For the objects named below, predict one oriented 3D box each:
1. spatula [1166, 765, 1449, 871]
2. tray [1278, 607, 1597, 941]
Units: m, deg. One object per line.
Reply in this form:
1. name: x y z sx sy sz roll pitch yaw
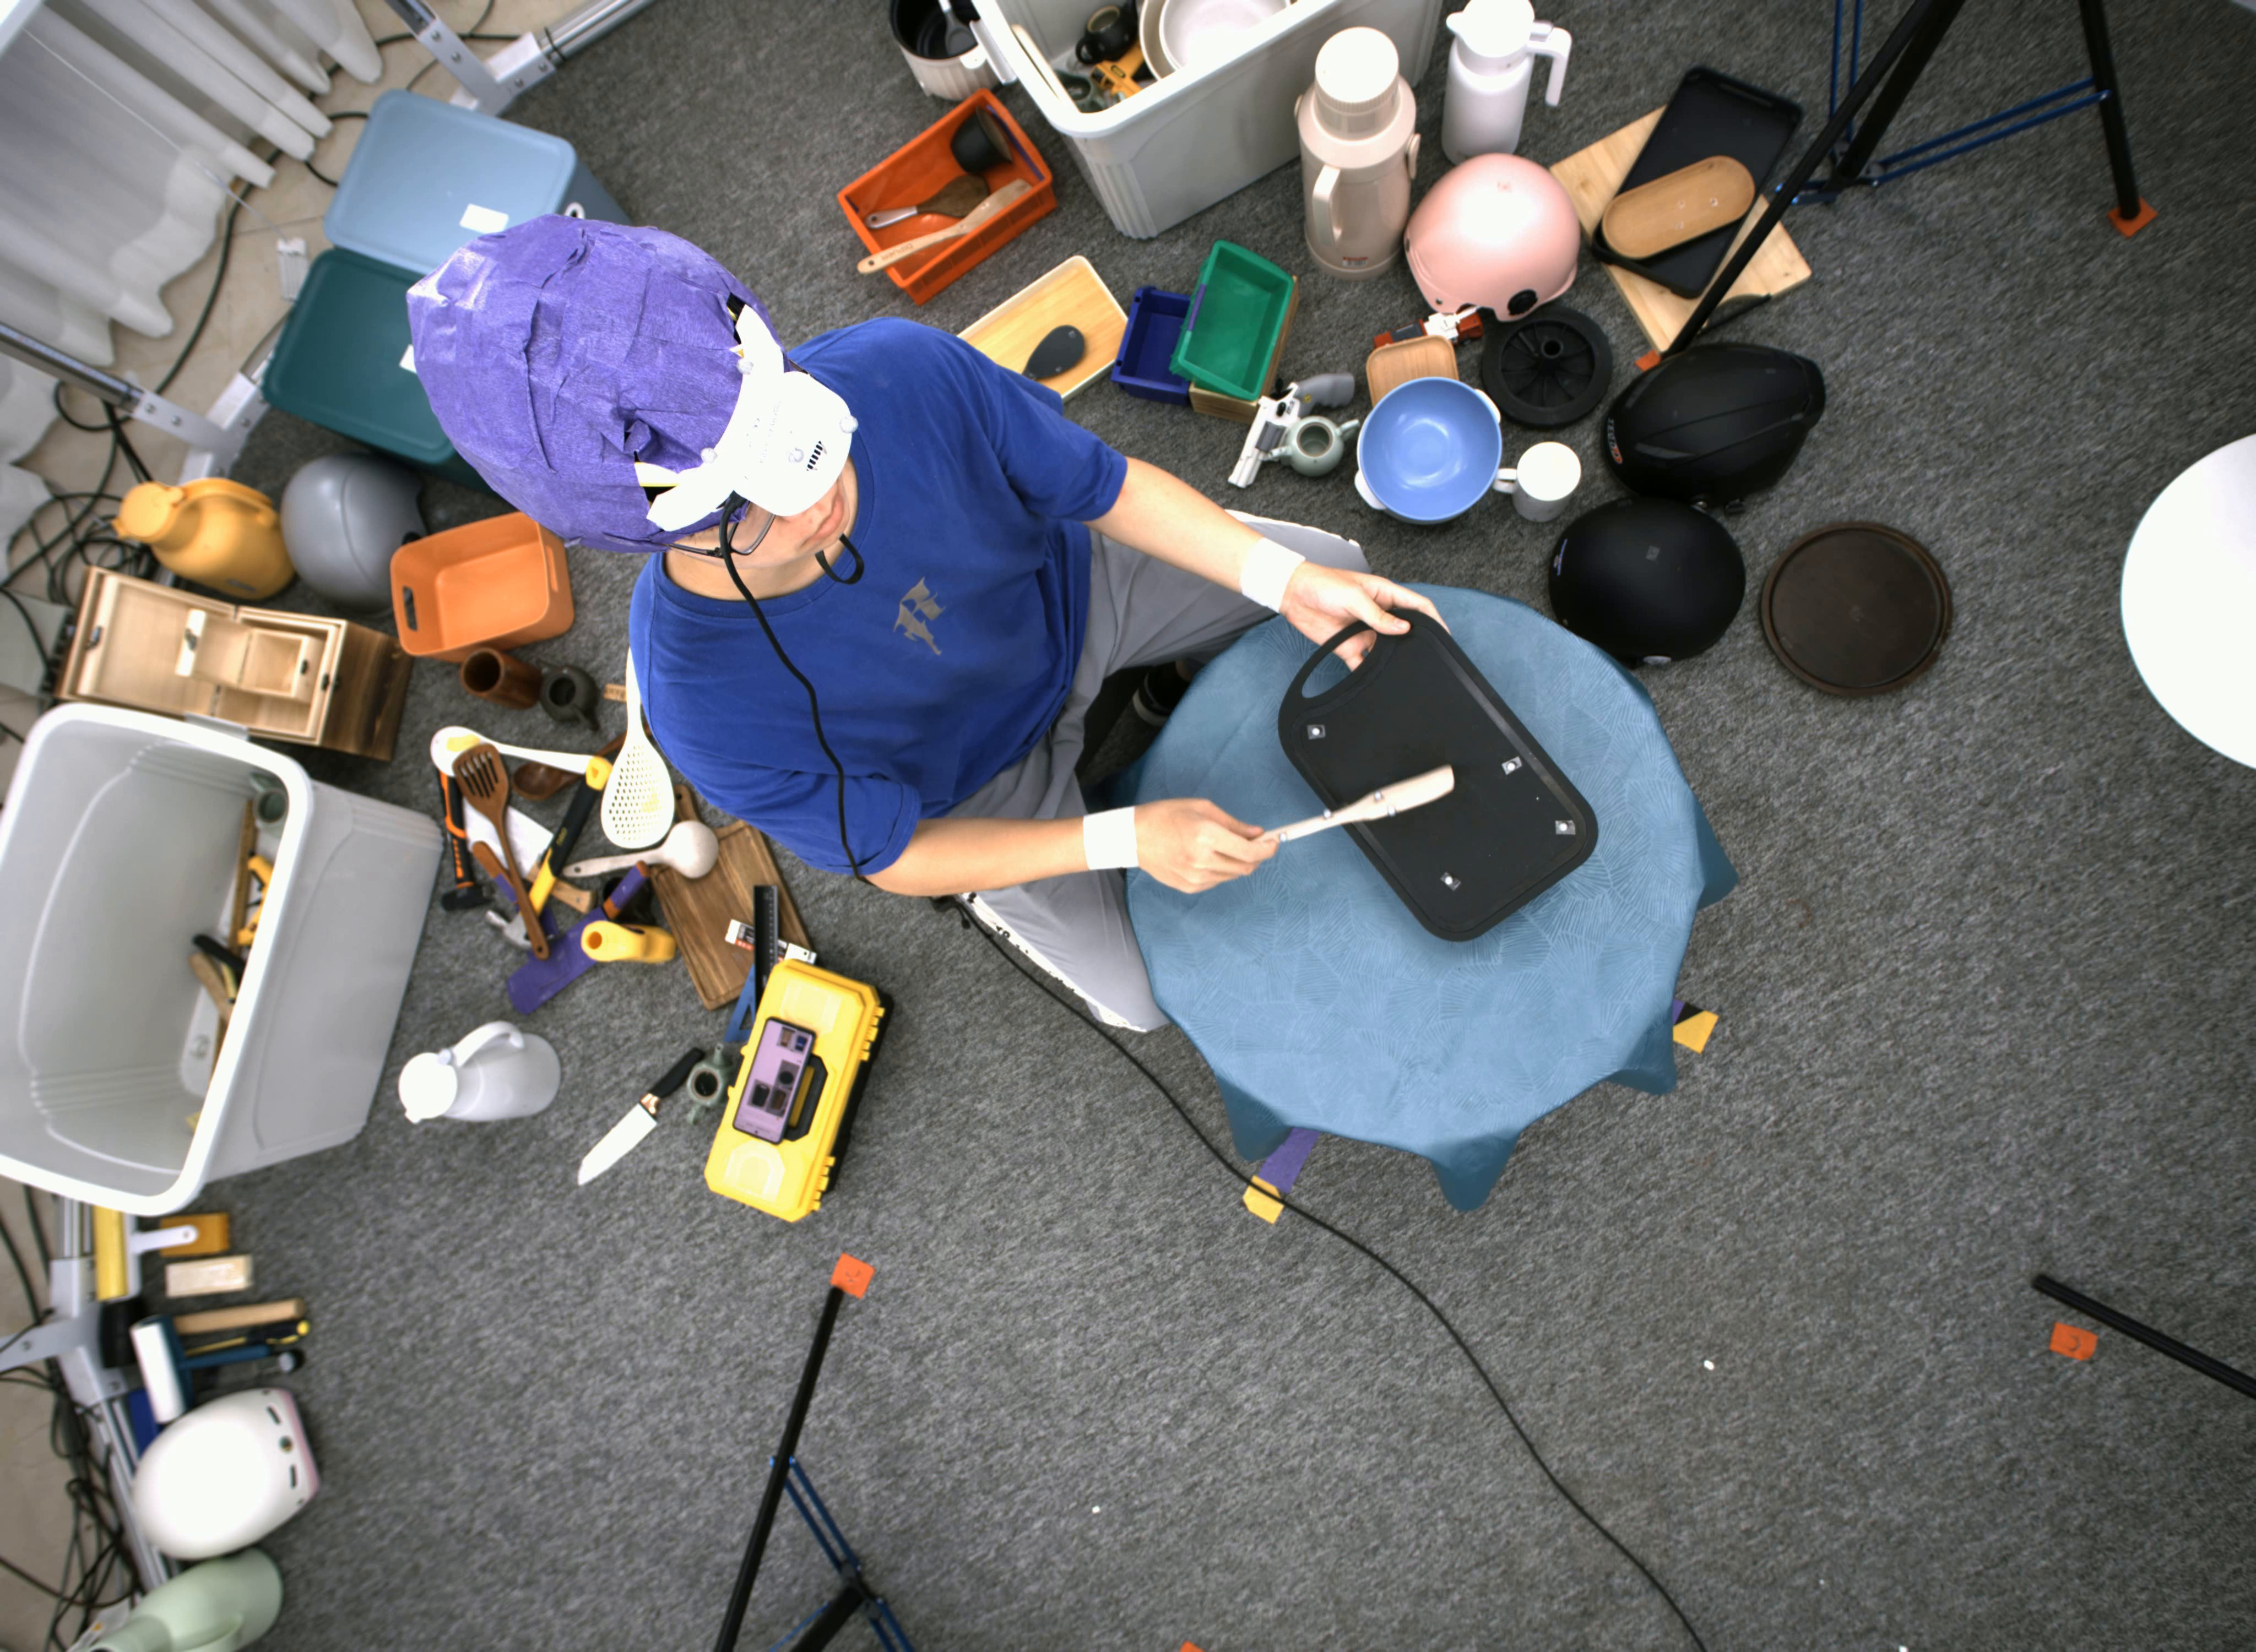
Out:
1. spatula: 0.173 -0.004 1.353 0.296 0.071 0.011 -19 105 17
2. tray: 0.292 -0.055 1.351 0.215 0.009 0.324 -40 85 31
